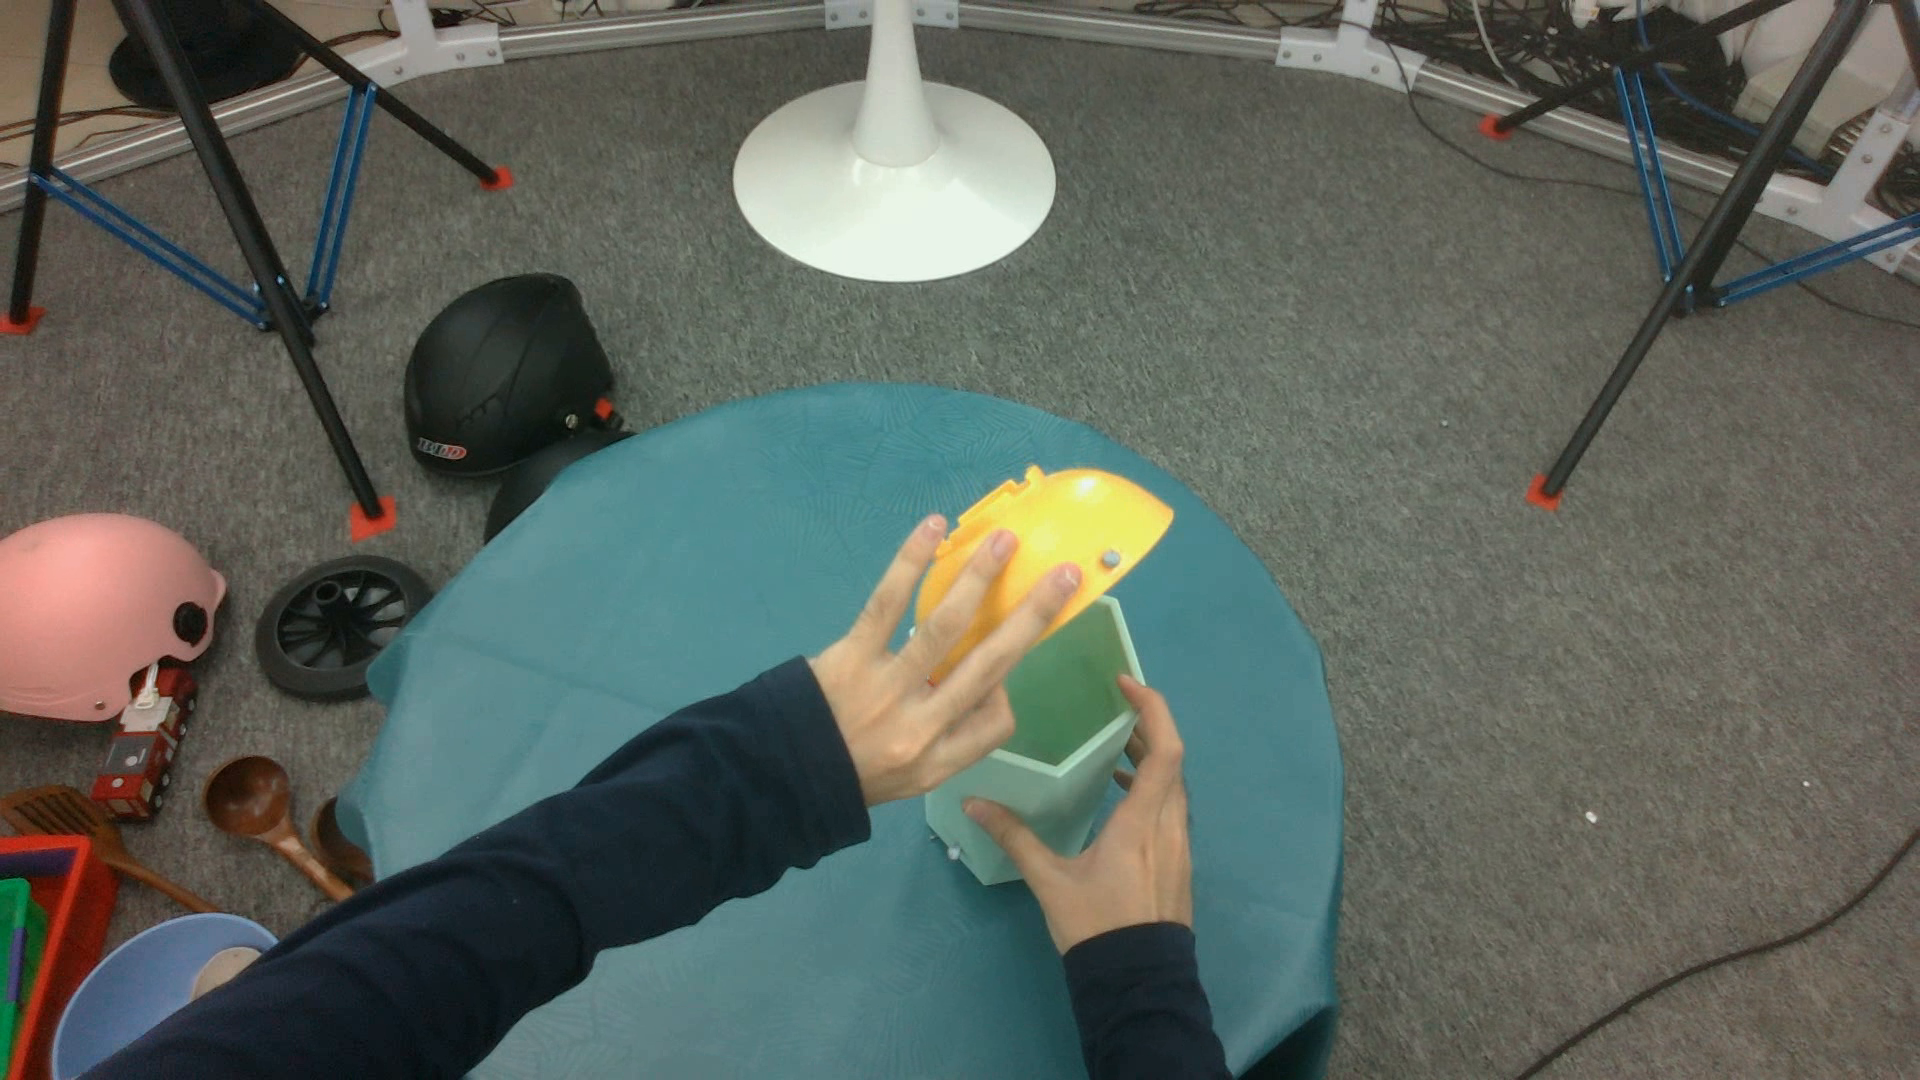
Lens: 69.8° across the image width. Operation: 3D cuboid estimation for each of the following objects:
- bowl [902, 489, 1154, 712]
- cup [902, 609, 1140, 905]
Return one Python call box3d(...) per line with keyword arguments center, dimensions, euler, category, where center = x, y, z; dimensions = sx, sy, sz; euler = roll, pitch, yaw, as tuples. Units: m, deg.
box3d(center=(0.021, 0.017, 0.679), dimensions=(0.146, 0.144, 0.060), euler=(-38, 92, -28), category="bowl")
box3d(center=(0.030, 0.126, 0.783), dimensions=(0.131, 0.162, 0.116), euler=(13, 53, 10), category="cup")
